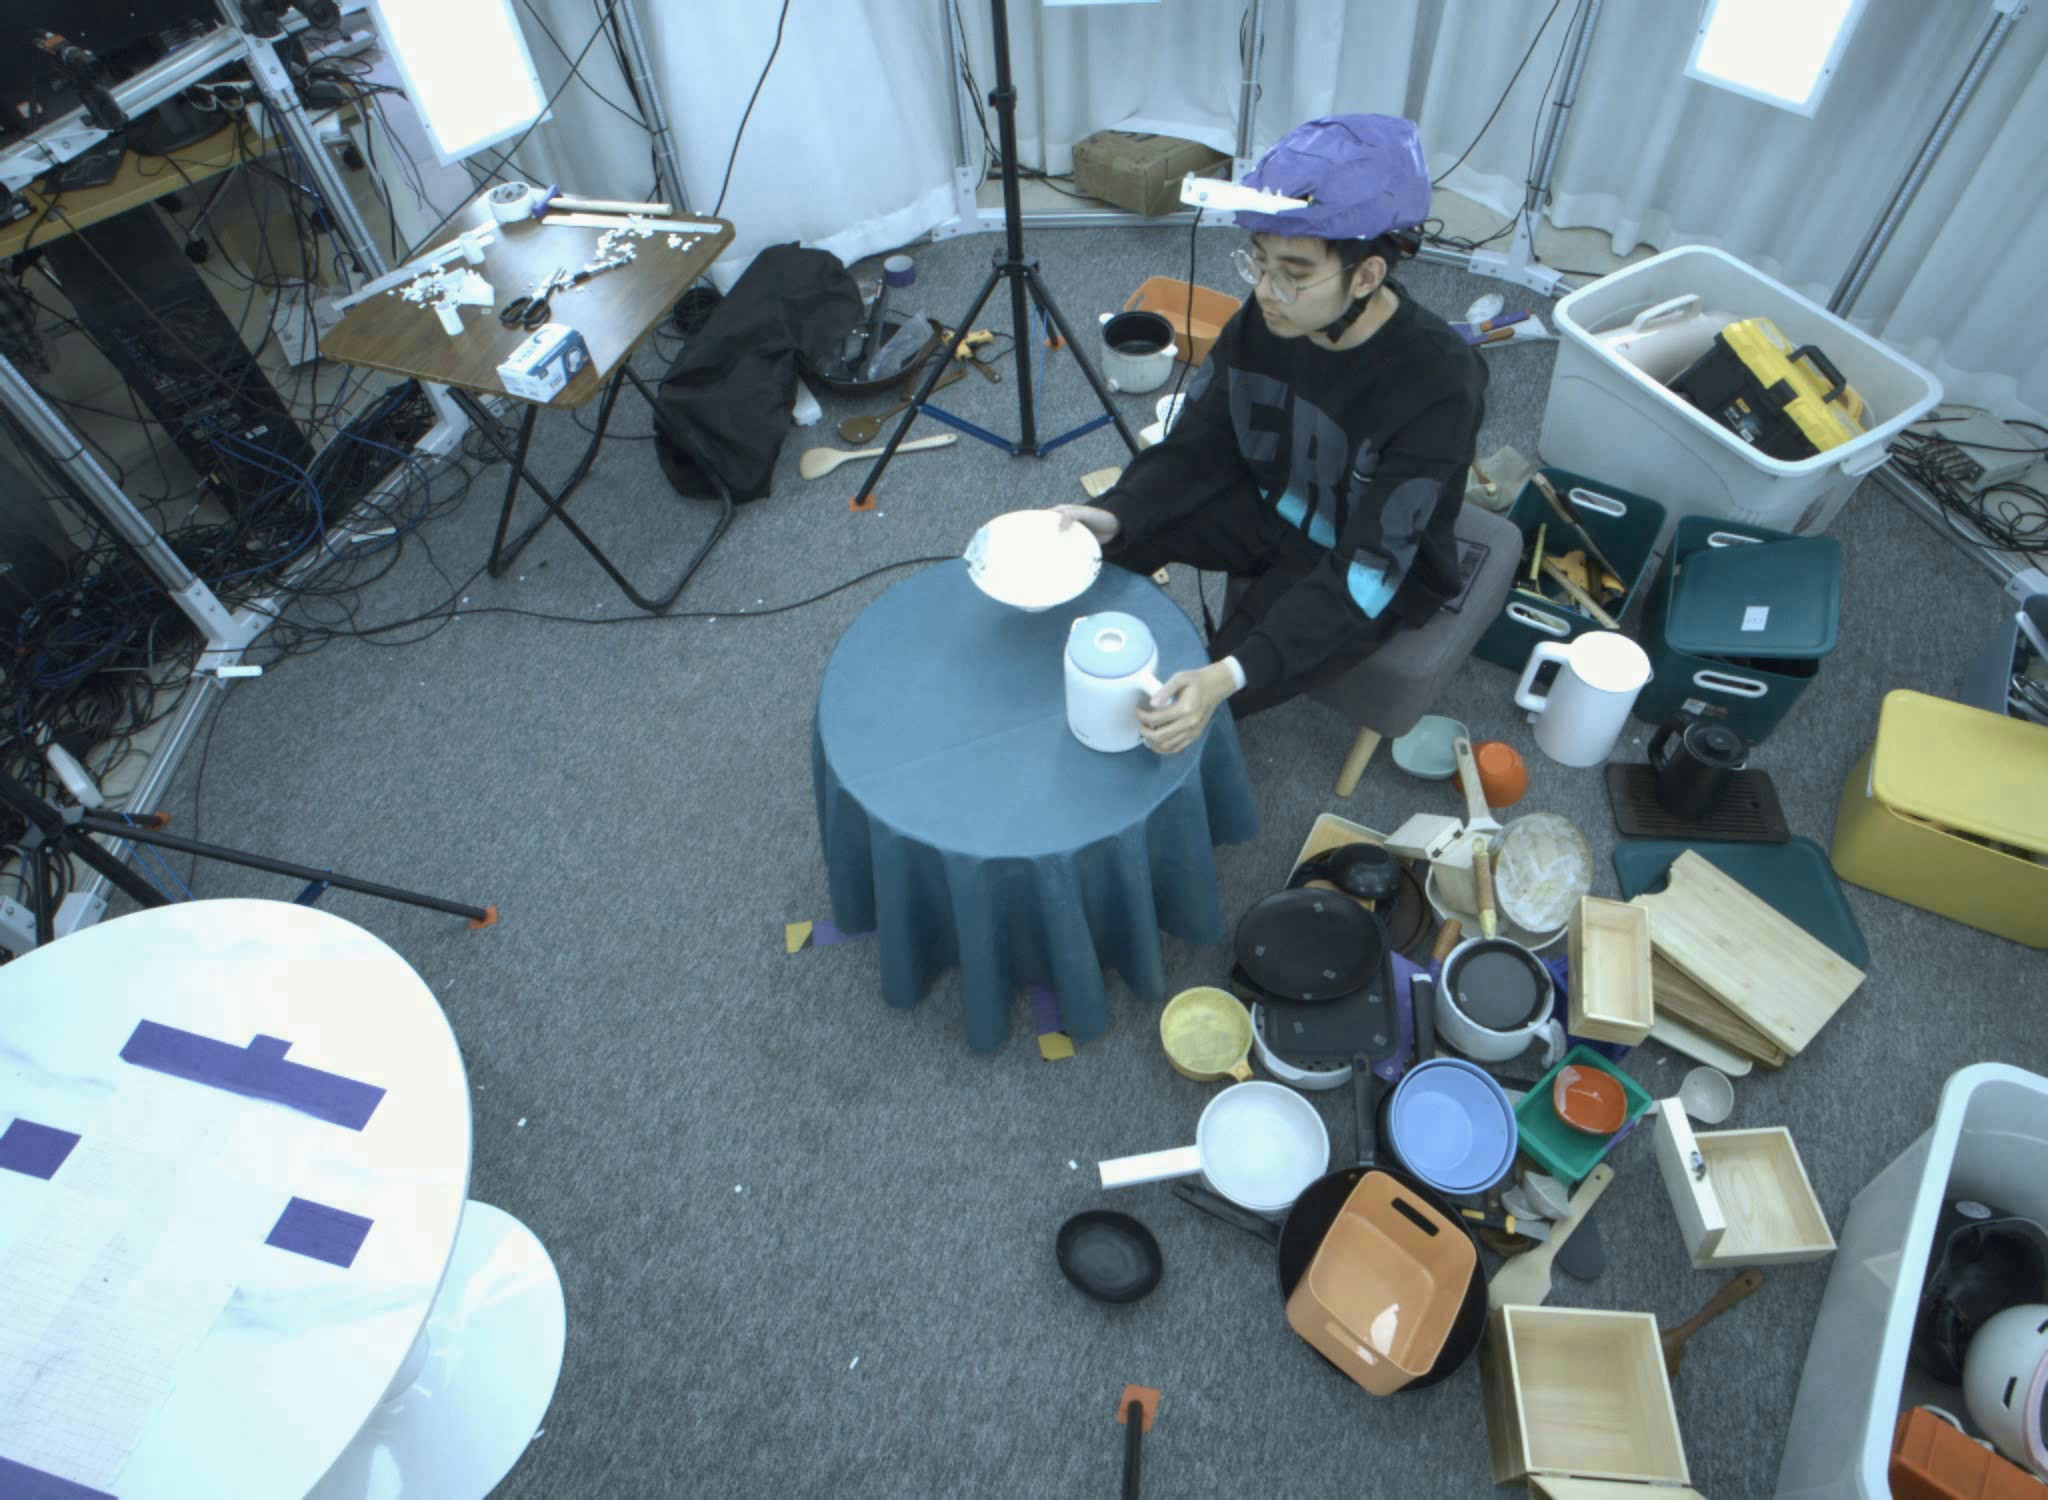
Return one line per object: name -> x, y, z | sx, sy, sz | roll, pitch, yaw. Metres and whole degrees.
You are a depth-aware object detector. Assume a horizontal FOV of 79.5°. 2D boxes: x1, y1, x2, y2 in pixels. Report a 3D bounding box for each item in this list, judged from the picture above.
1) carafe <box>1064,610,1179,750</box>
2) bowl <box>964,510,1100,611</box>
carafe -> 0.141, -0.084, 1.732 | 0.188, 0.184, 0.133 | 38, 66, 23
bowl -> 0.010, -0.267, 1.856 | 0.204, 0.078, 0.202 | 3, 53, -2
